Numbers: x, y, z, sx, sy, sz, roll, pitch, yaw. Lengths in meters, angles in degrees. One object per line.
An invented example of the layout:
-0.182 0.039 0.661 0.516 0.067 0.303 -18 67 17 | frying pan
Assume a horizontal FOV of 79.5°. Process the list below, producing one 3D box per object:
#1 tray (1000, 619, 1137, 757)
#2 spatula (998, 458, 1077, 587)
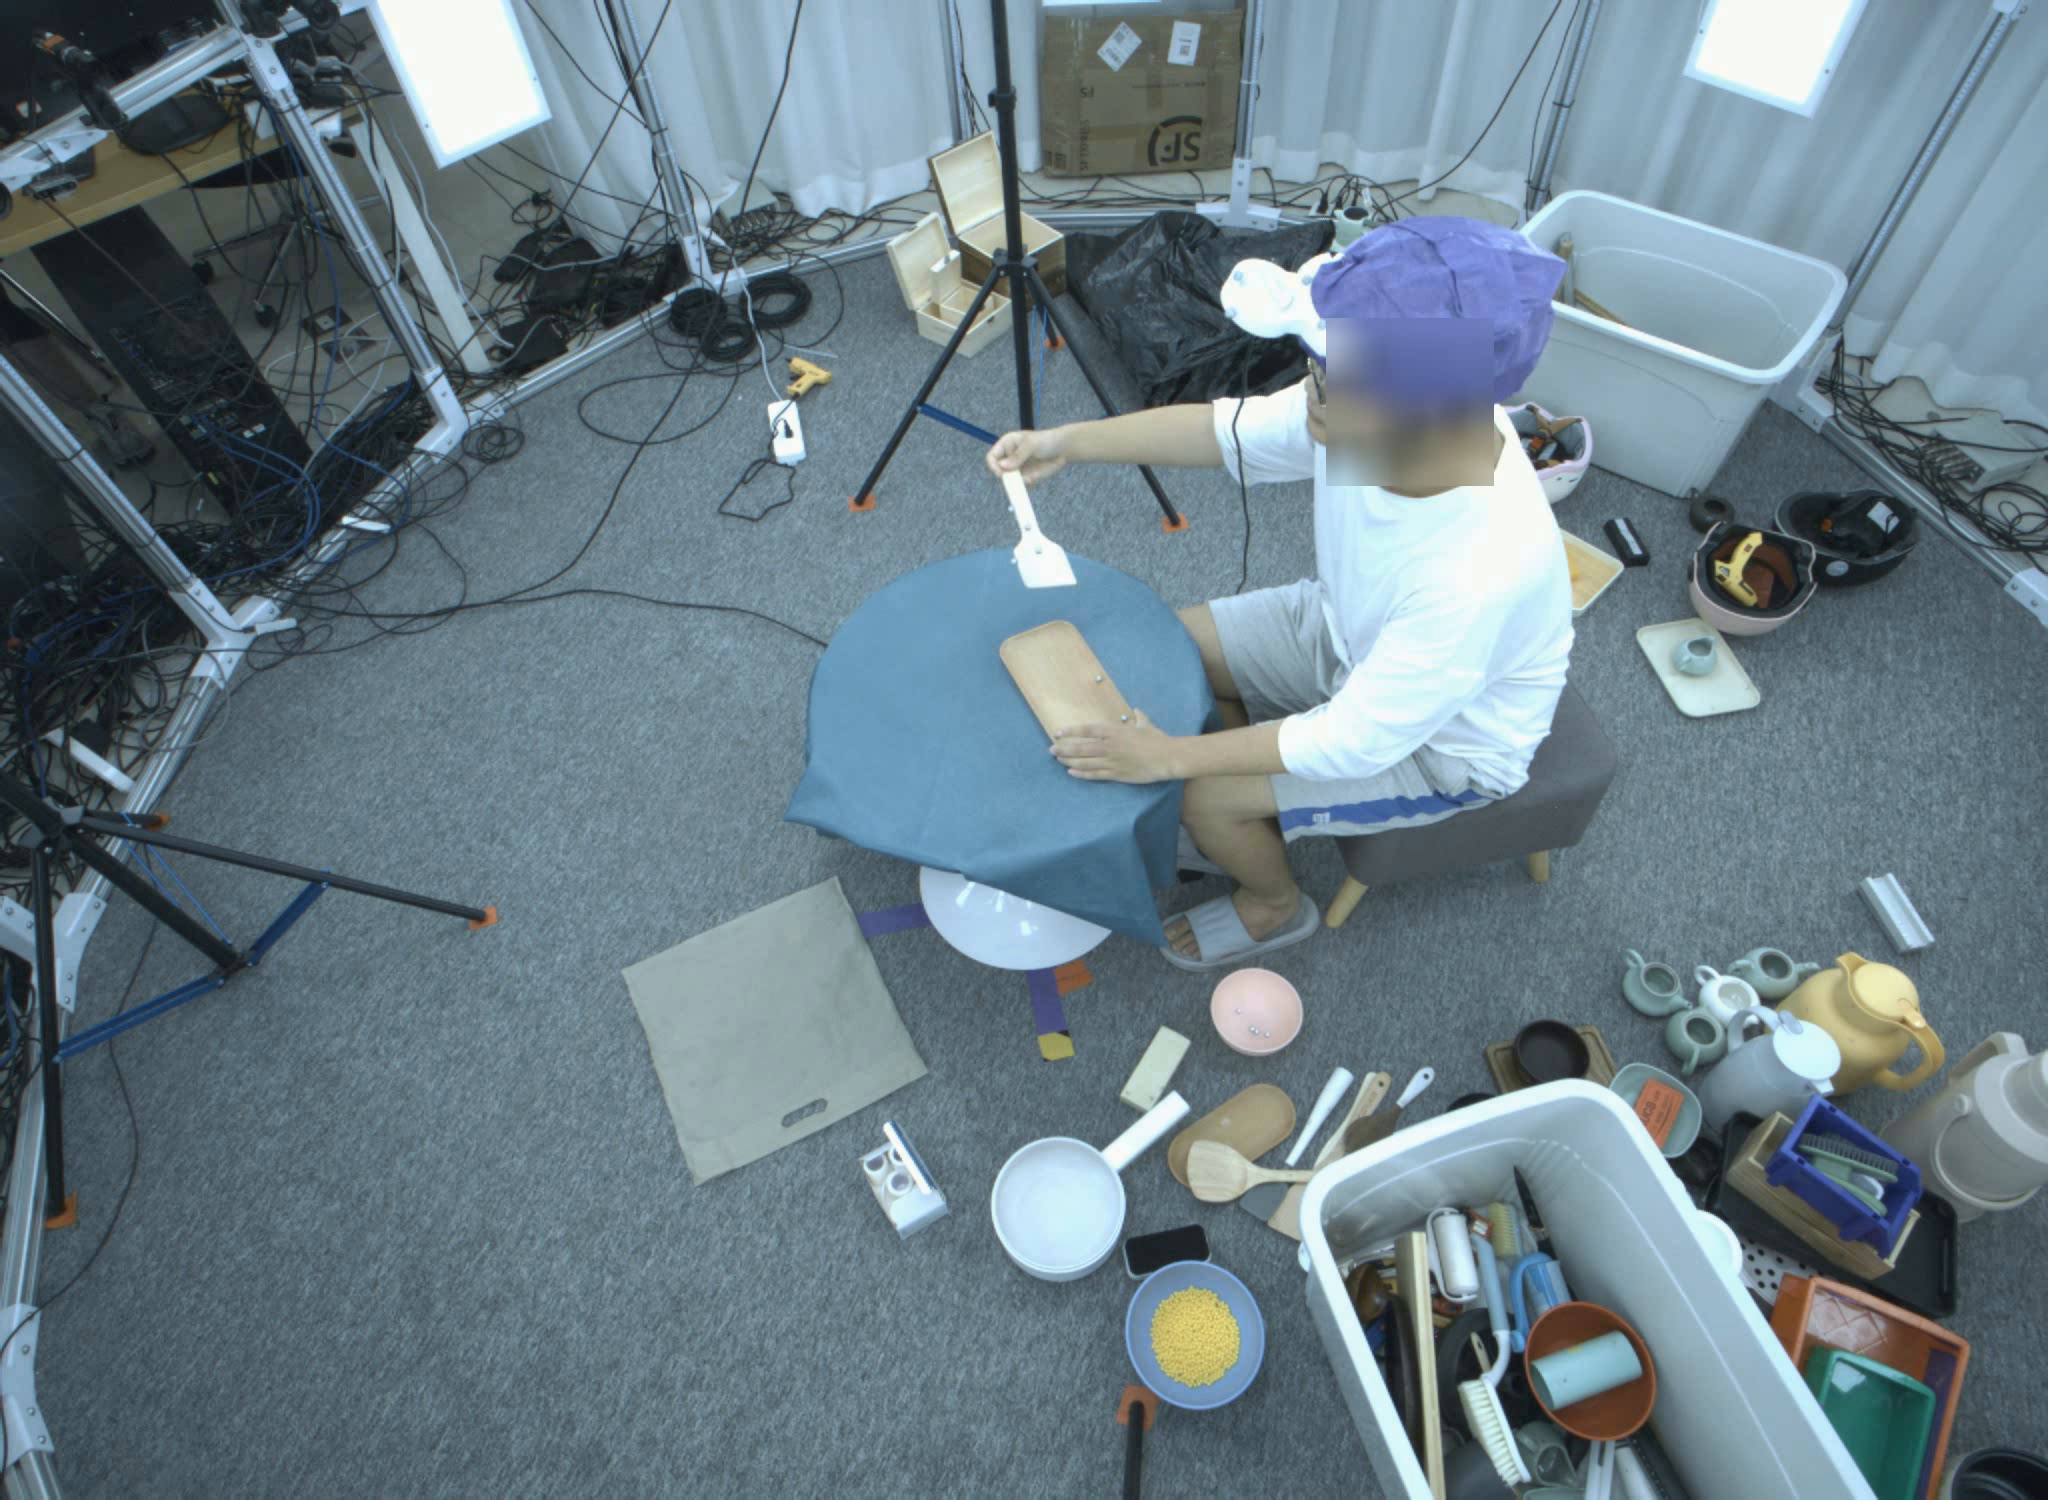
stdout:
0.064 -0.095 1.842 0.132 0.023 0.246 -19 55 -15 | tray
0.003 -0.325 1.717 0.073 0.011 0.288 -6 51 -14 | spatula
